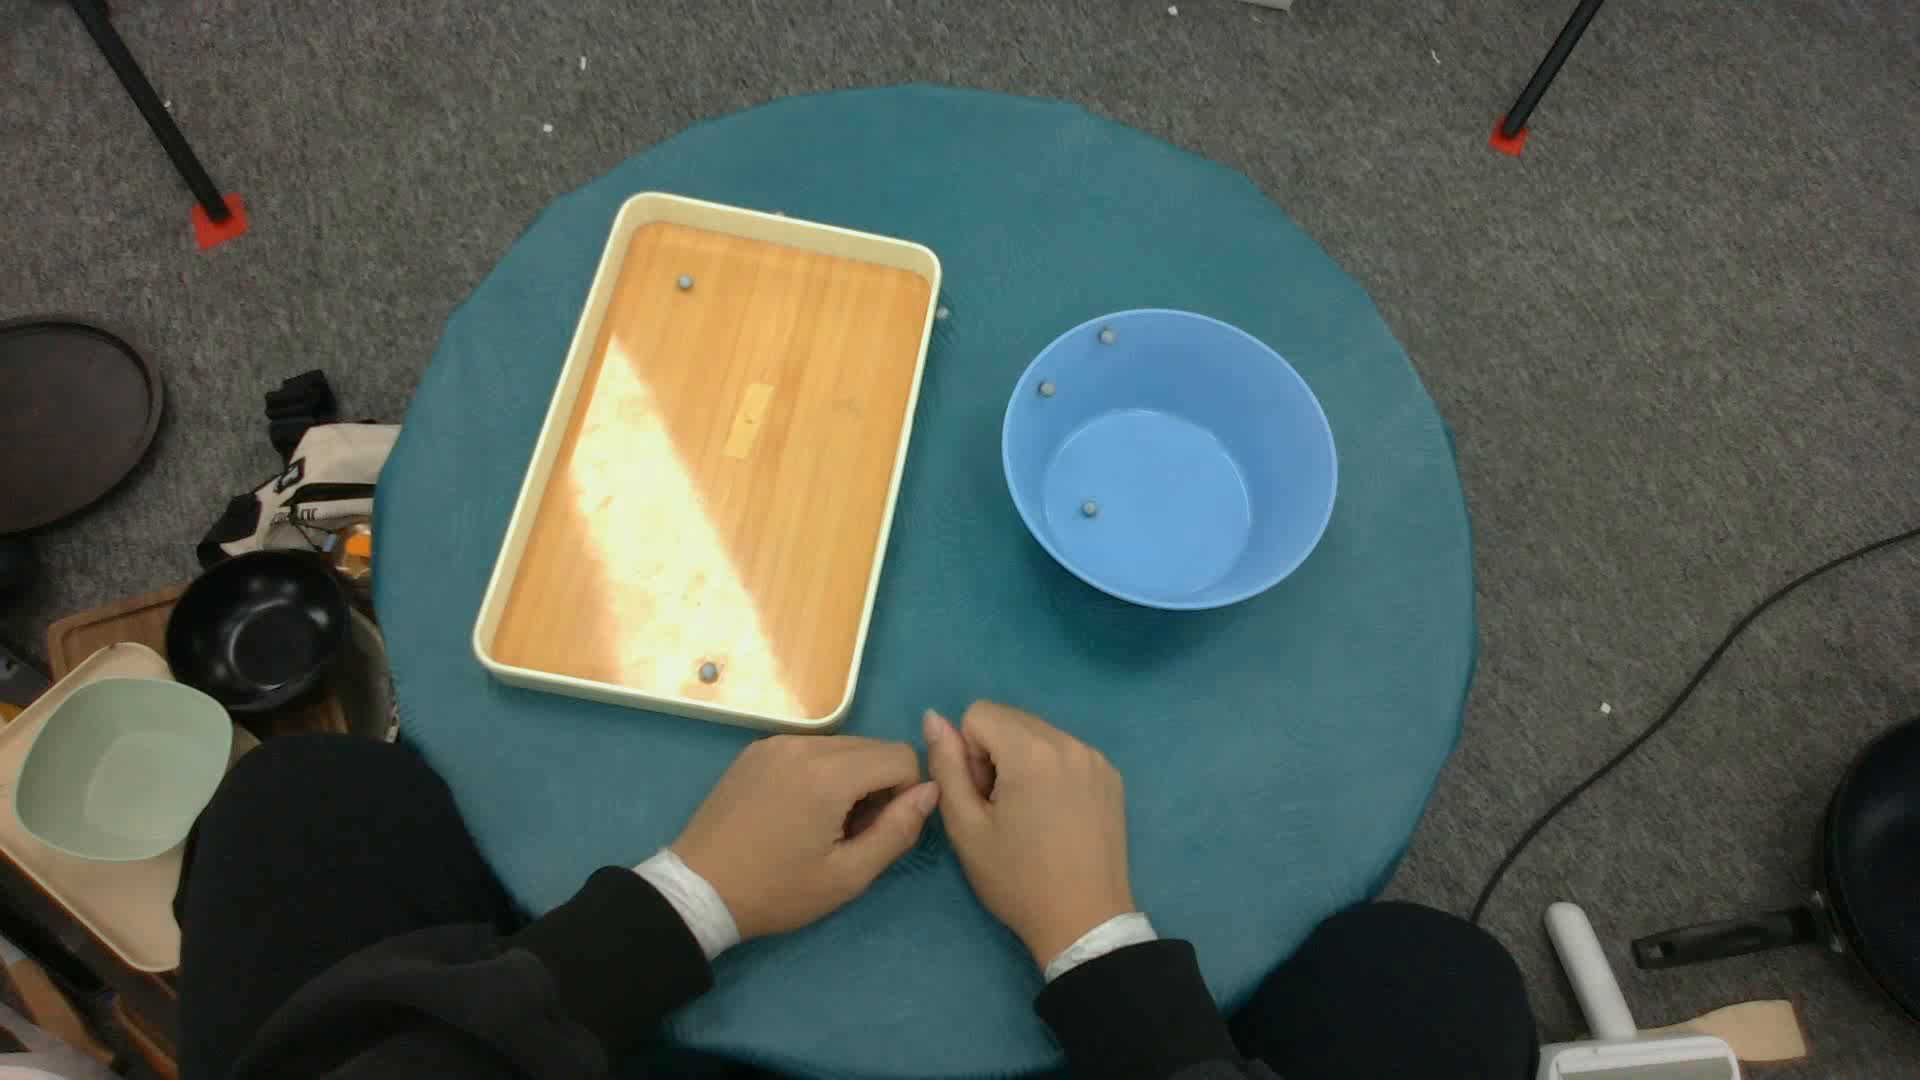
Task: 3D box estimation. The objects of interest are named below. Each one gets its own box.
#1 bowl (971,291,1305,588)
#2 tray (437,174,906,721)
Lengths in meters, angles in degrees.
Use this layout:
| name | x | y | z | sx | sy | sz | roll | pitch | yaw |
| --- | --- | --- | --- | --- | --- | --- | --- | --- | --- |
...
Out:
| name | x | y | z | sx | sy | sz | roll | pitch | yaw |
| --- | --- | --- | --- | --- | --- | --- | --- | --- | --- |
| bowl | 0.090 | -0.043 | 0.741 | 0.176 | 0.070 | 0.176 | 3 | 64 | -5 |
| tray | -0.145 | -0.060 | 0.746 | 0.191 | 0.027 | 0.301 | 10 | 65 | -2 |
